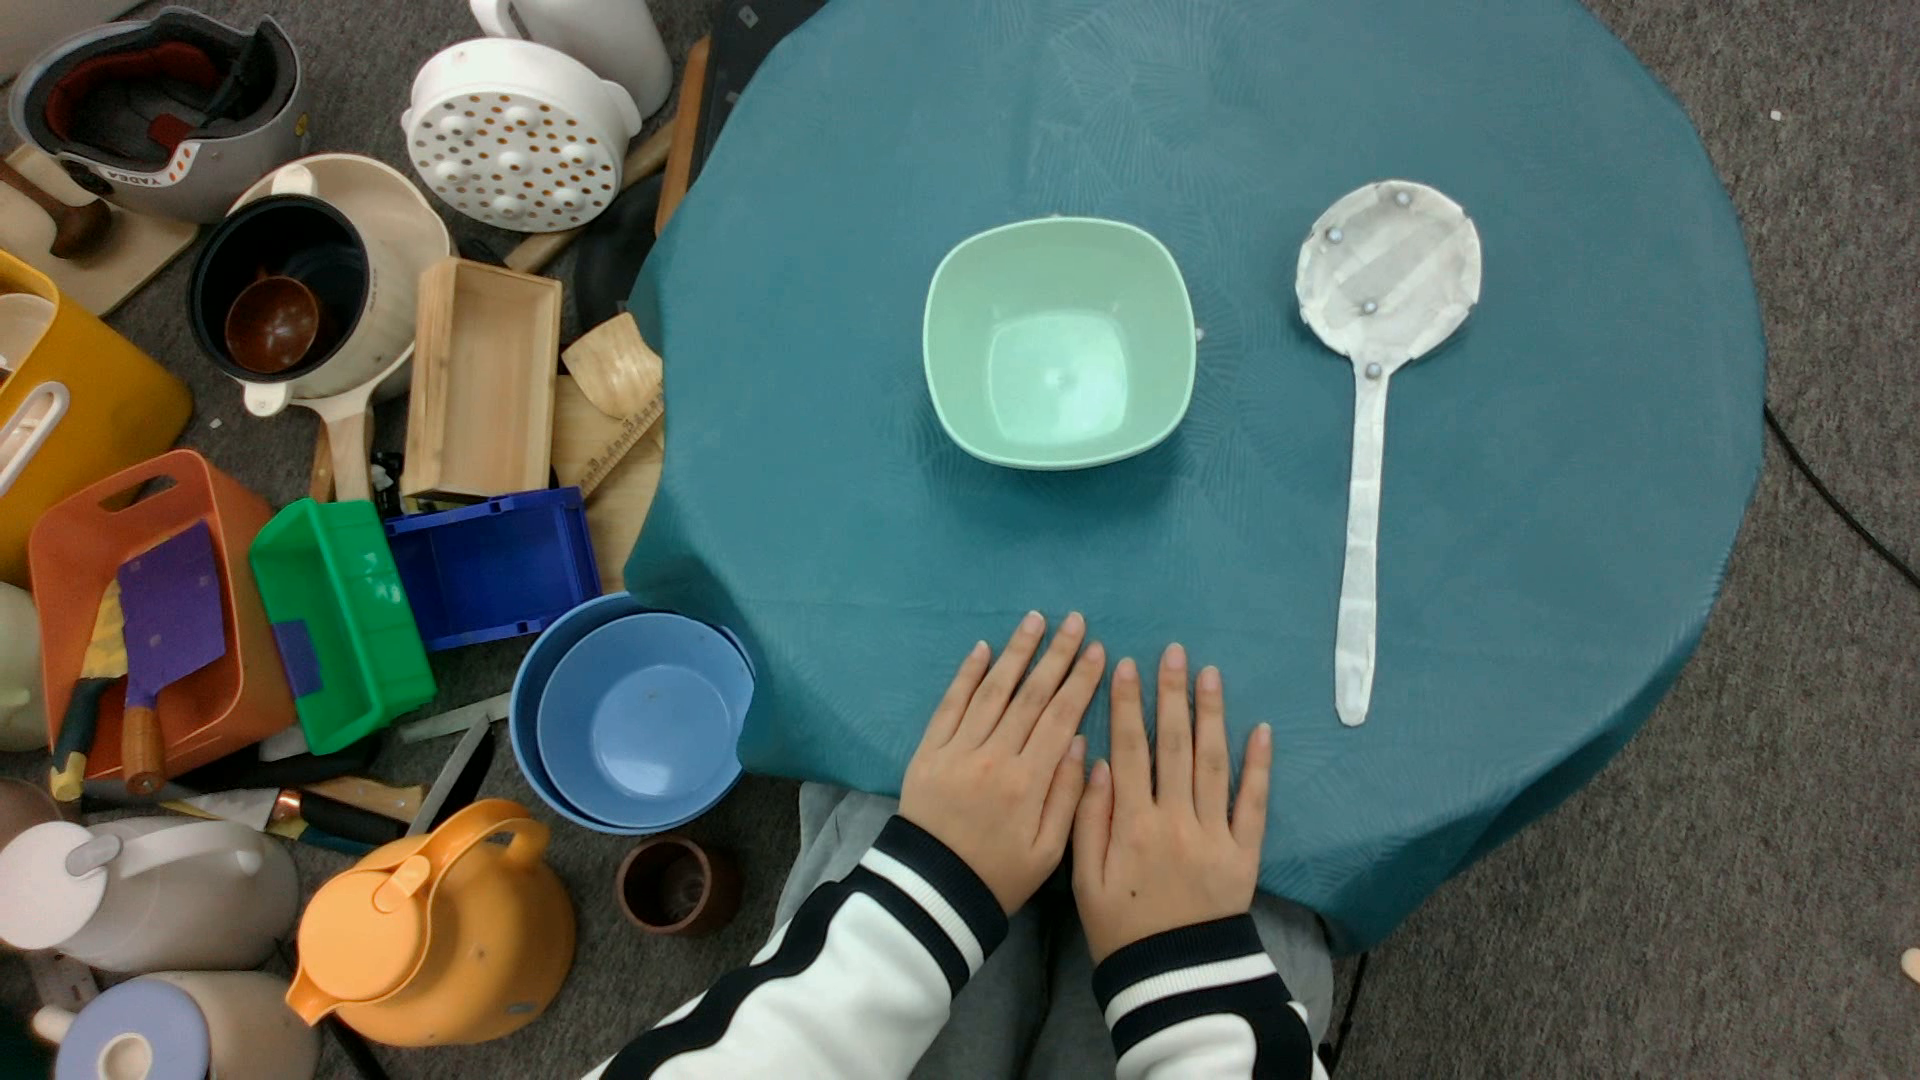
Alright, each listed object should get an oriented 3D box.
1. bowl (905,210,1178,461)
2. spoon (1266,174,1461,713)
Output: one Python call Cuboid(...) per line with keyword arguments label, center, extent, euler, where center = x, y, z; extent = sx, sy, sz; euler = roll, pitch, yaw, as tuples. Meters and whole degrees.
Cuboid(label="bowl", center=(0.042, -0.099, 0.727), extent=(0.151, 0.058, 0.152), euler=(-1, 72, 2))
Cuboid(label="spoon", center=(0.194, -0.052, 0.703), extent=(0.100, 0.059, 0.278), euler=(9, 73, 11))
